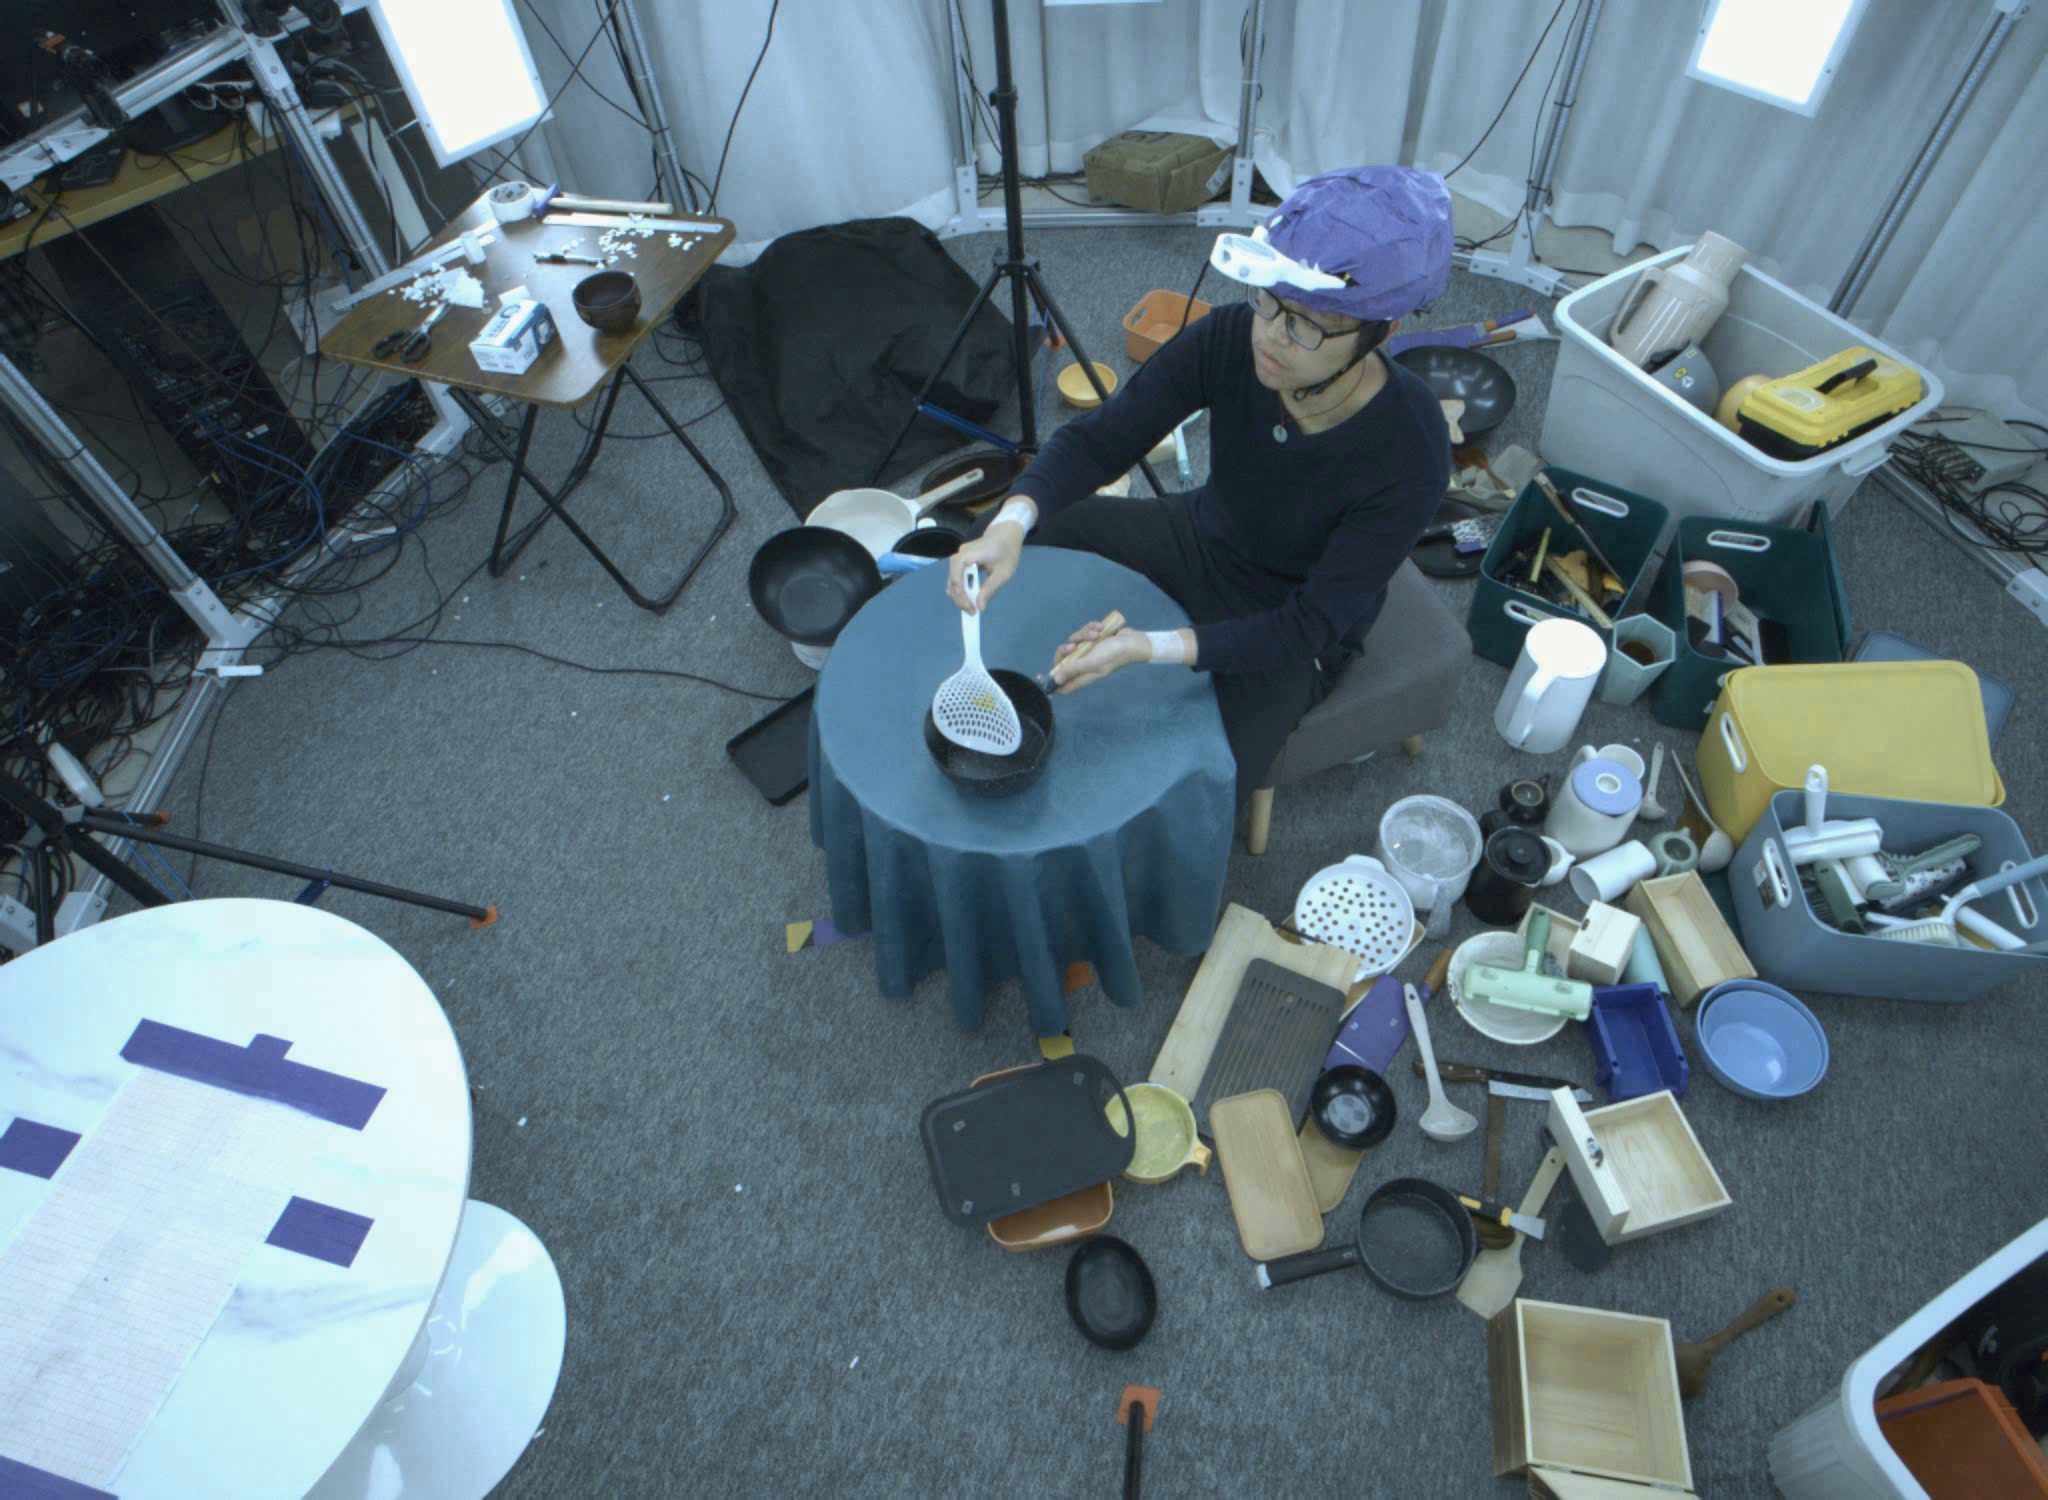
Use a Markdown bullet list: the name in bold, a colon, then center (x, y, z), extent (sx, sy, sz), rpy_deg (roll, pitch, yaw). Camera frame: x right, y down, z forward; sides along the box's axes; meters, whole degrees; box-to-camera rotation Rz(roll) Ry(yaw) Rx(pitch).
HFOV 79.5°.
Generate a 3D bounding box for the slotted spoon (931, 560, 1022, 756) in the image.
- **slotted spoon**: center (-0.067, -0.115, 1.644), extent (0.135, 0.352, 0.050), rpy_deg (14, 57, 13)

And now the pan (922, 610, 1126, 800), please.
- **pan**: center (0.014, -0.070, 1.749), extent (0.344, 0.110, 0.203), rpy_deg (-39, 61, -13)
